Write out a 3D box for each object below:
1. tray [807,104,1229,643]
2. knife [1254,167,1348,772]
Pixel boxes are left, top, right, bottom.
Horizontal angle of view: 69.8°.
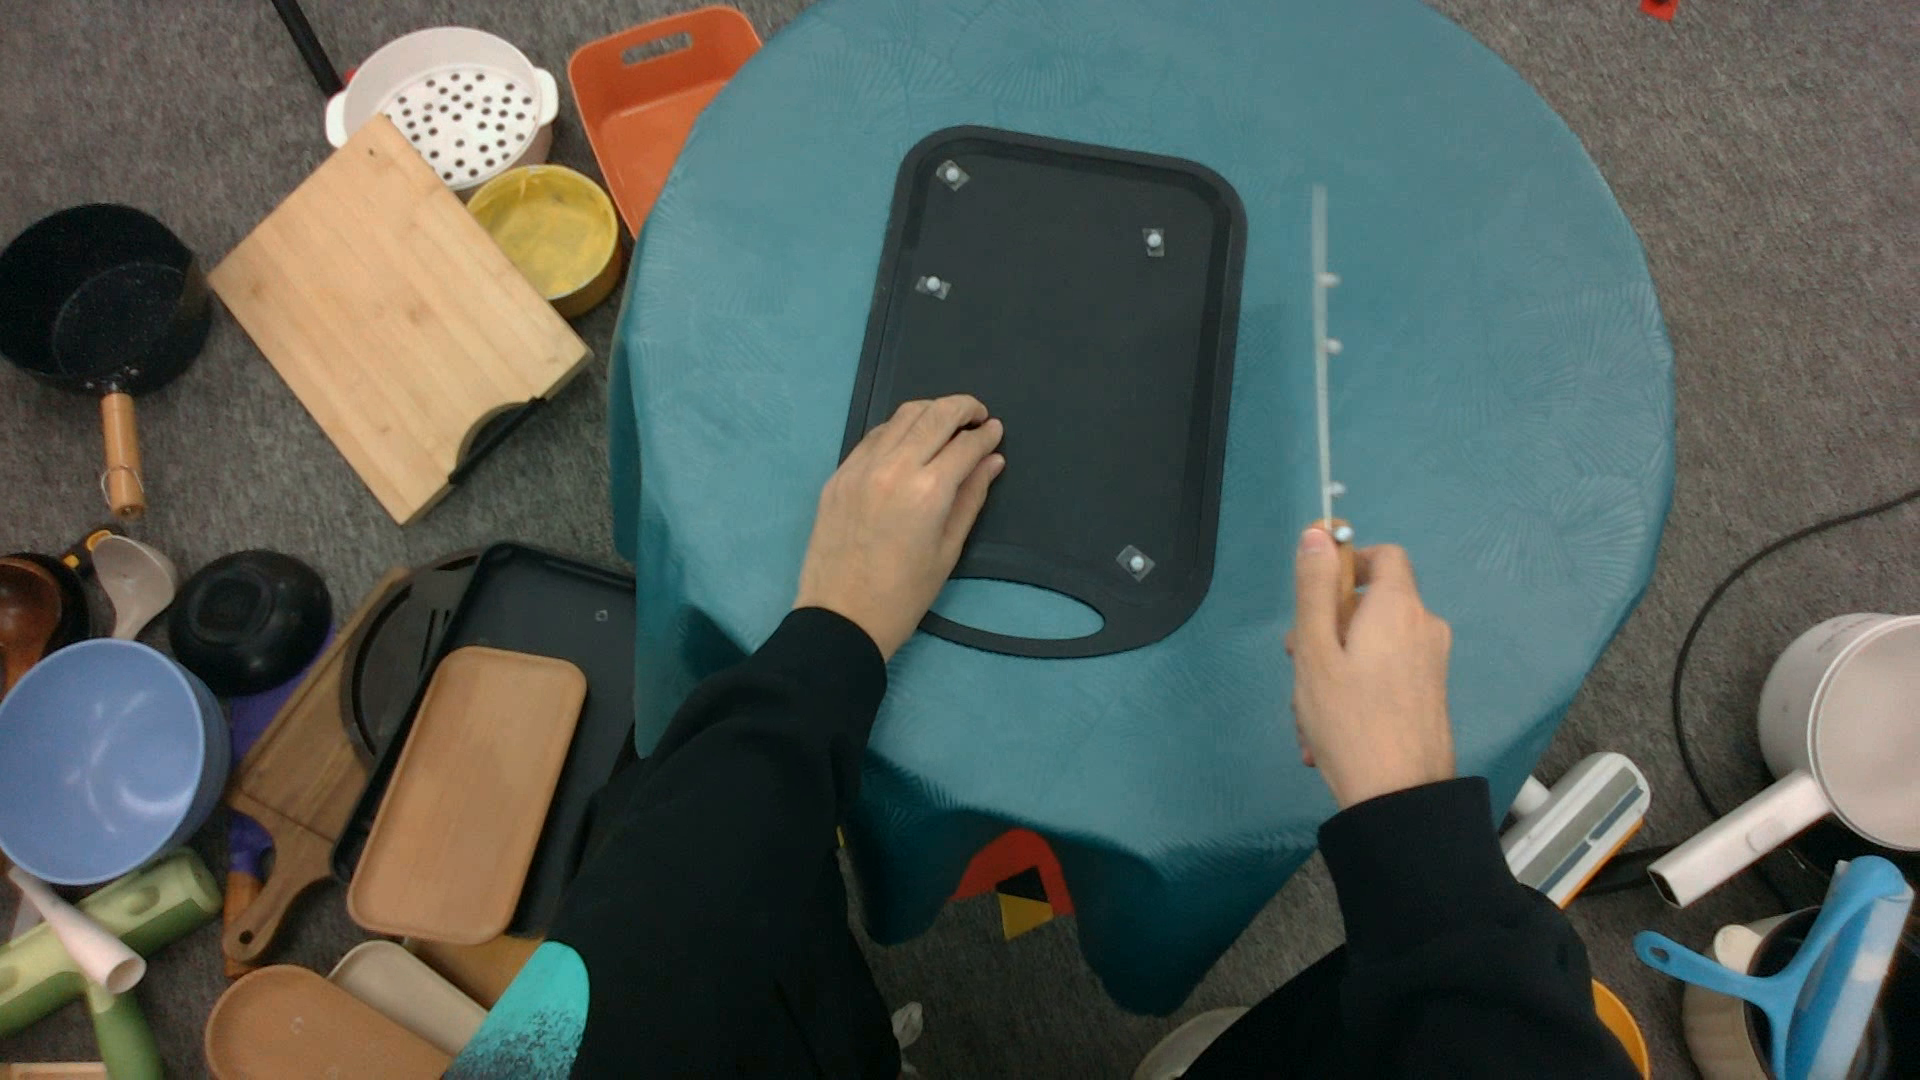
[{"bbox_3d":[0.038,-0.100,0.767,0.211,0.010,0.326,10,69,-1],"label":"tray"},{"bbox_3d":[0.162,-0.034,0.678,0.021,0.093,0.306,-5,70,11],"label":"knife"}]
